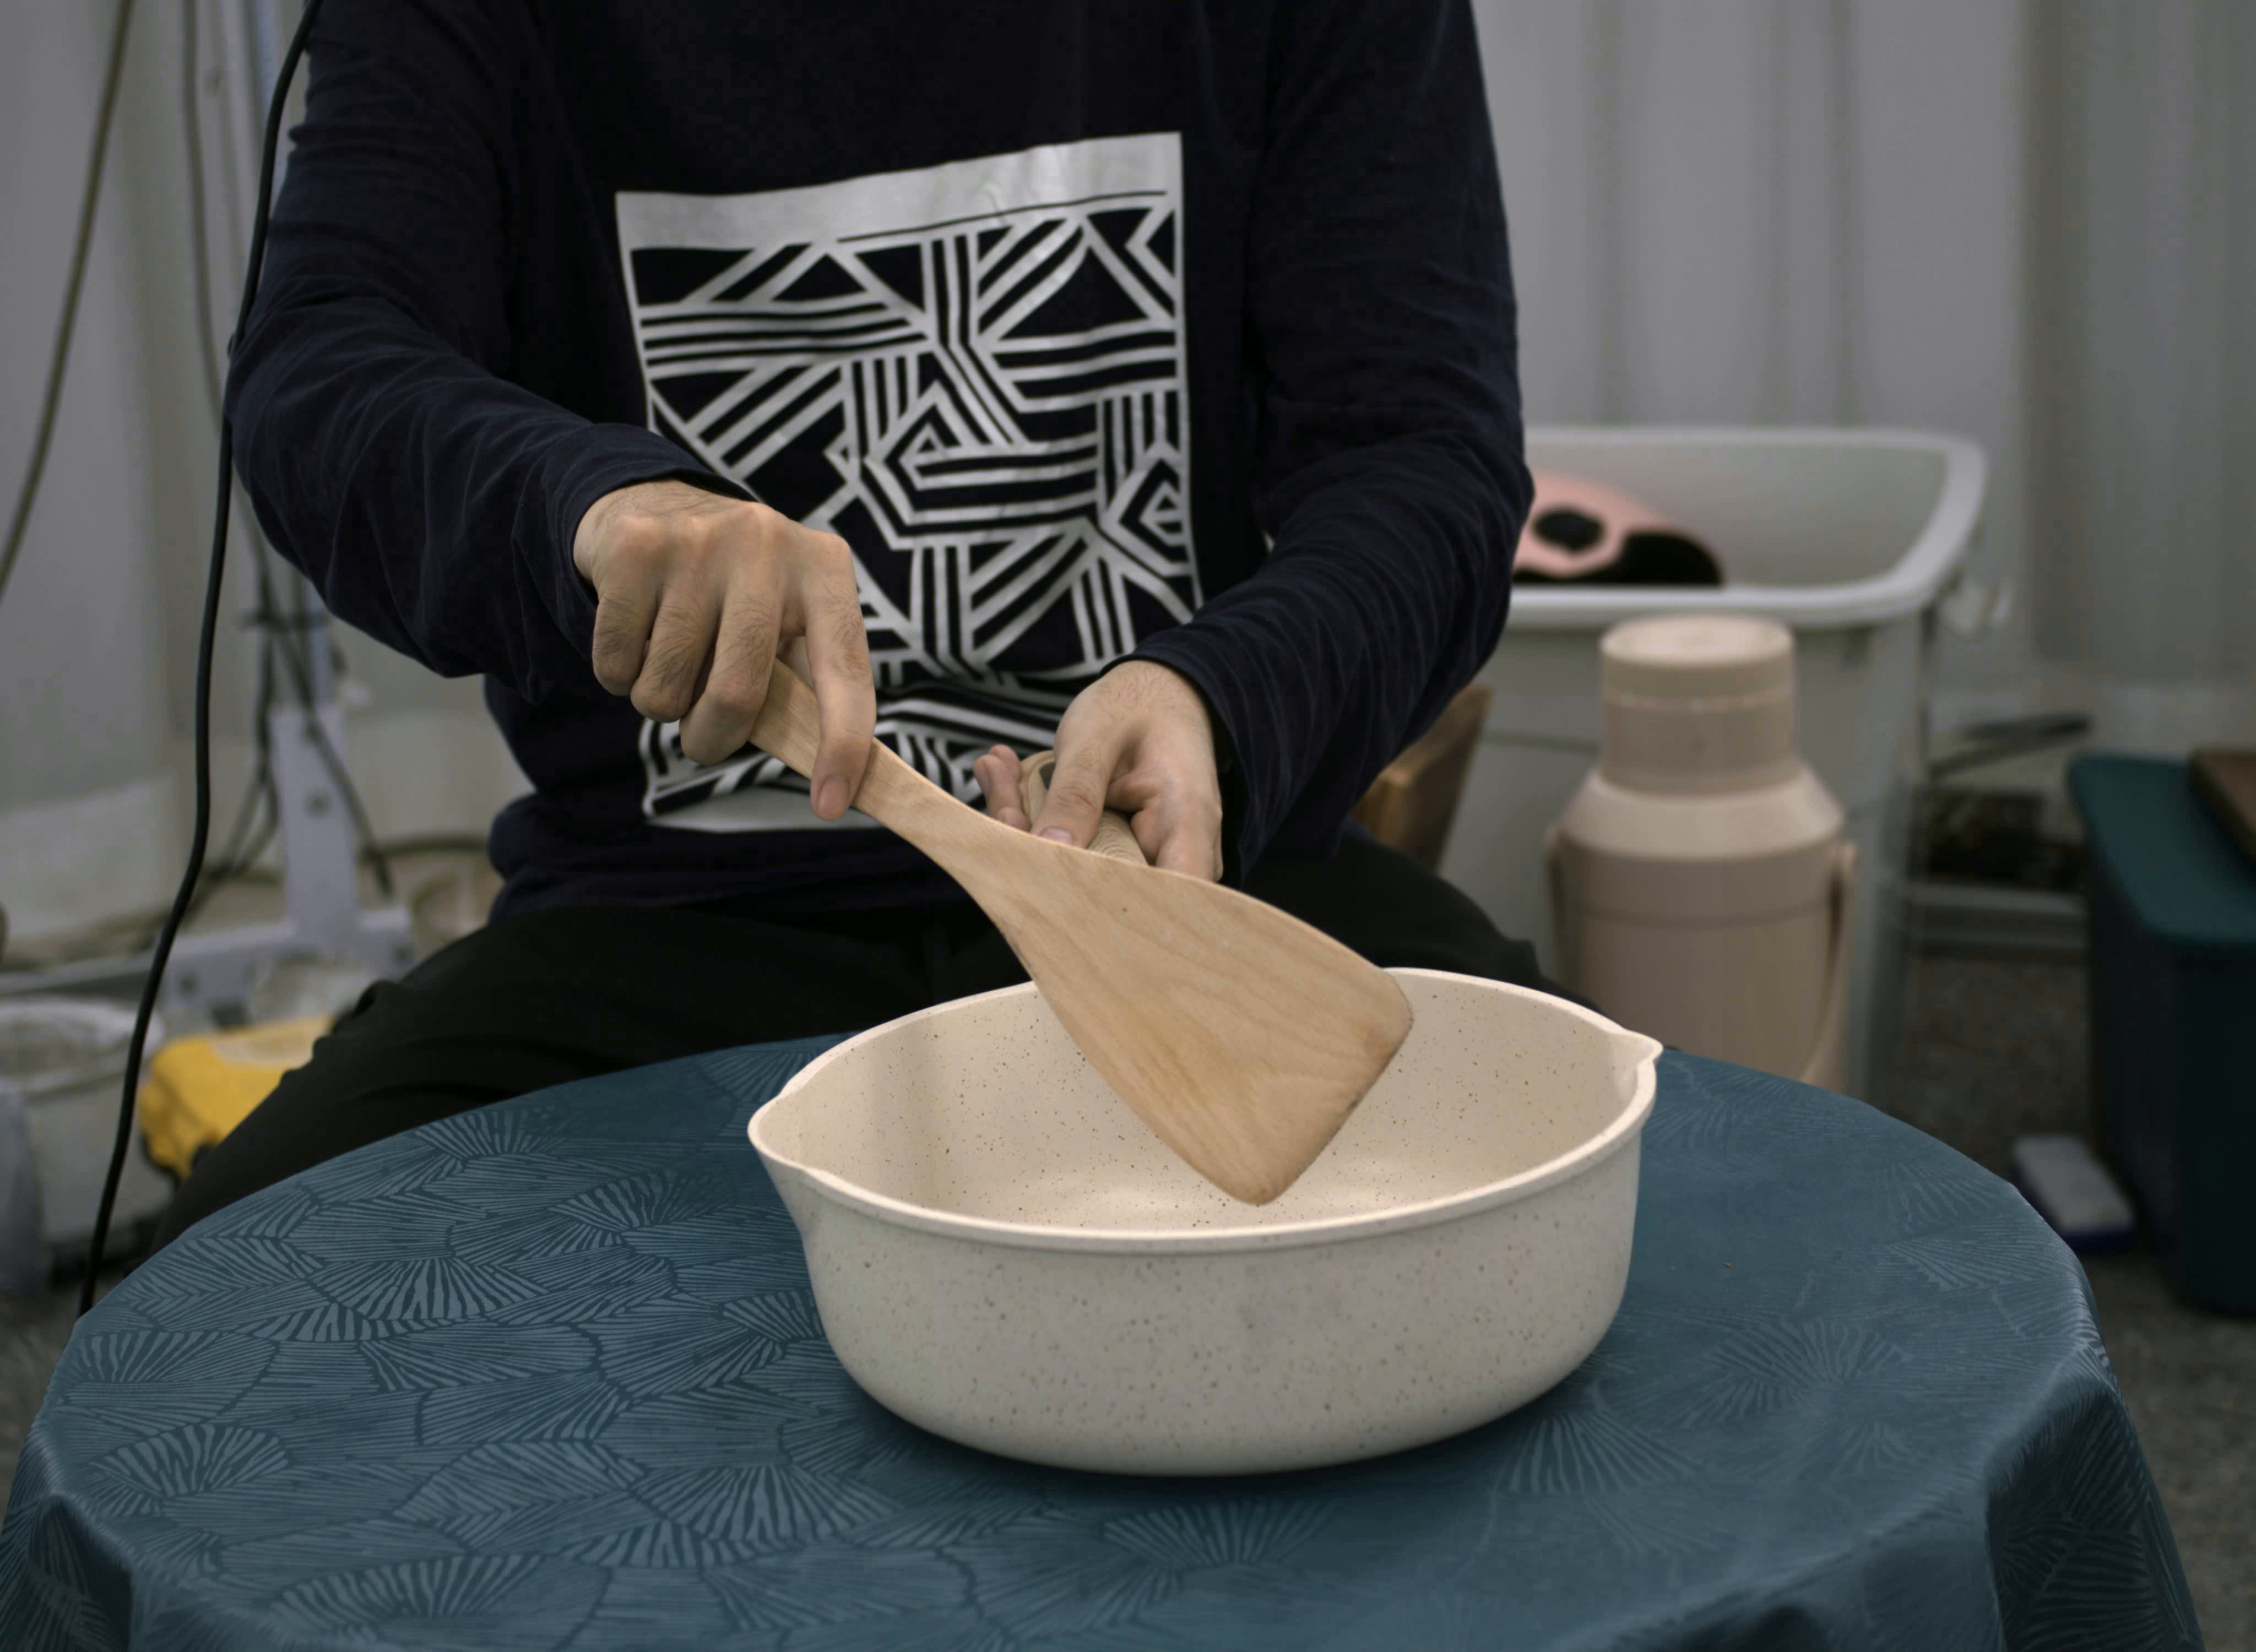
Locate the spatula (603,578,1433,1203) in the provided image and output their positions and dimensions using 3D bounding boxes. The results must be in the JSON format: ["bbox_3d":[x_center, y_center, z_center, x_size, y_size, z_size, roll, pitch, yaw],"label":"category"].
[{"bbox_3d":[-0.046,0.005,1.602,0.331,0.080,0.016,33,12,36],"label":"spatula"}]

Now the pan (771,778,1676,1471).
[{"bbox_3d":[0.015,0.084,1.647,0.262,0.101,0.438,-6,15,-9],"label":"pan"}]
